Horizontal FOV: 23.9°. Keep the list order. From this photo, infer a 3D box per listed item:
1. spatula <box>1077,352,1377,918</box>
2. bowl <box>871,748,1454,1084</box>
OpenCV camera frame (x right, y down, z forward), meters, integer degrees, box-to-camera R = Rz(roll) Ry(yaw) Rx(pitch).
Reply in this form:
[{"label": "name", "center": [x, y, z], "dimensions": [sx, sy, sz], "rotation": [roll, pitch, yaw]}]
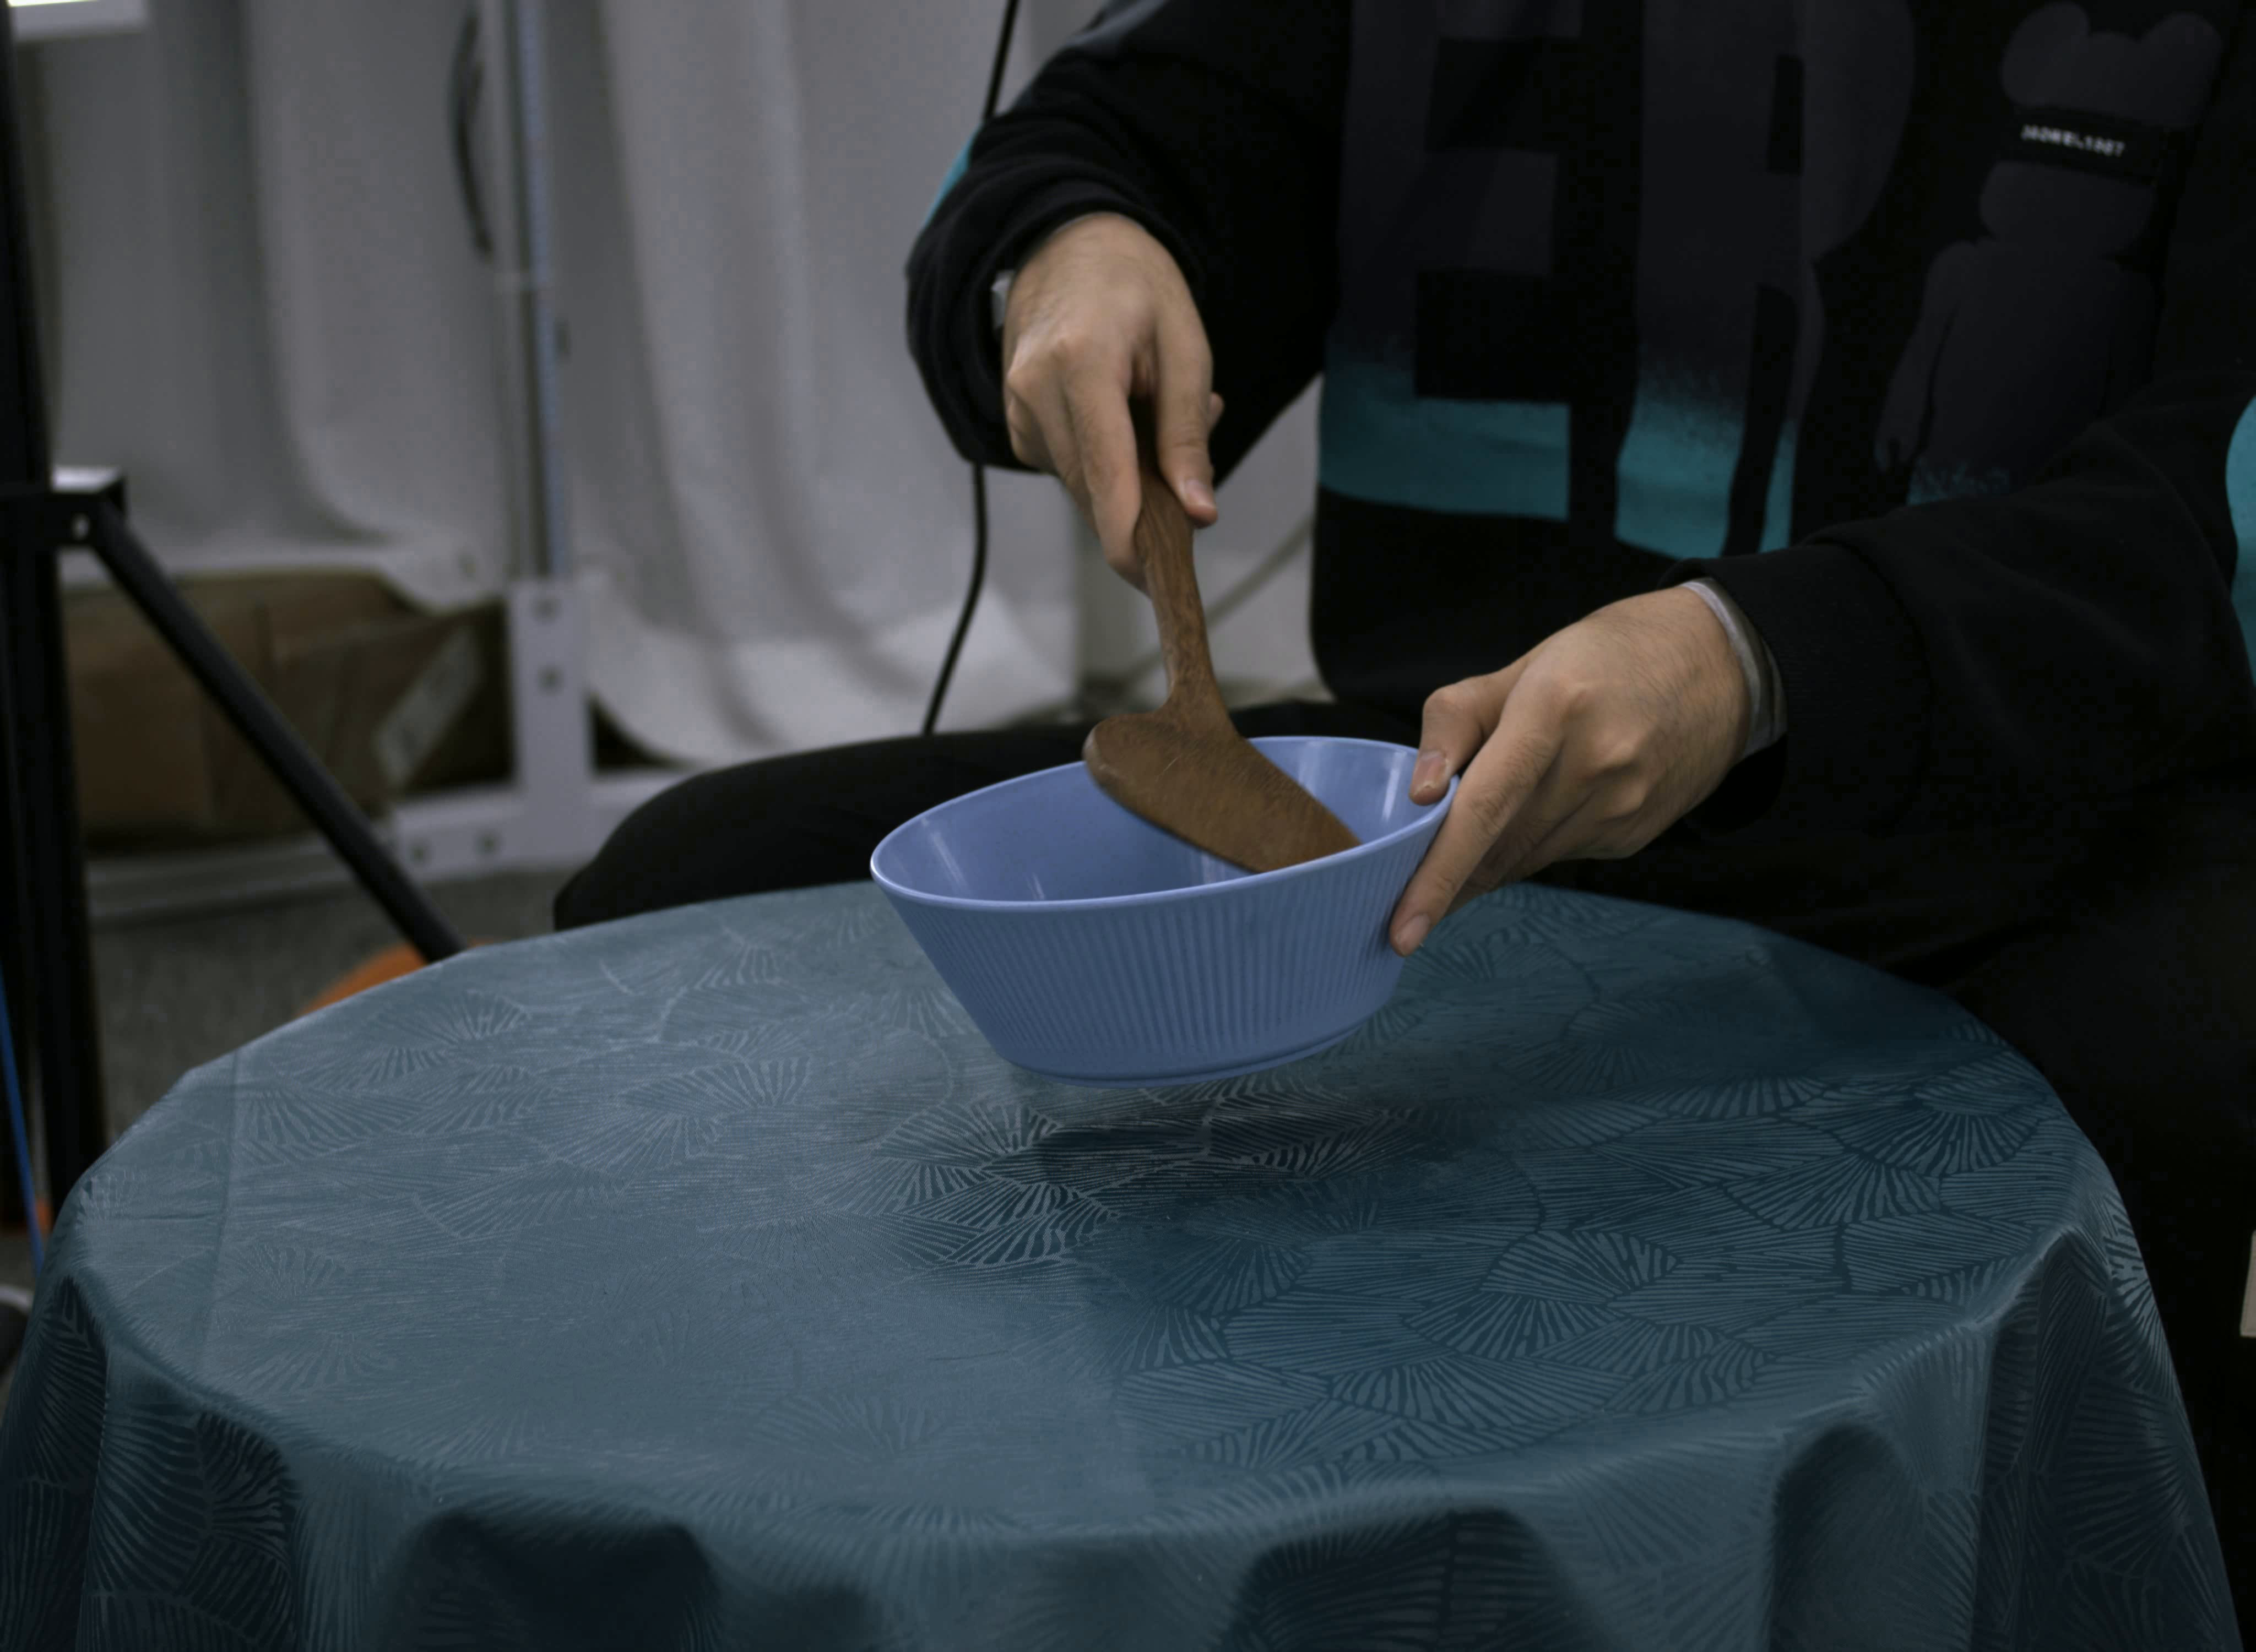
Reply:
[{"label": "spatula", "center": [0.014, -0.072, 1.684], "dimensions": [0.094, 0.016, 0.390], "rotation": [21, 24, -16]}, {"label": "bowl", "center": [0.014, 0.029, 1.581], "dimensions": [0.175, 0.070, 0.177], "rotation": [-8, 13, 0]}]
